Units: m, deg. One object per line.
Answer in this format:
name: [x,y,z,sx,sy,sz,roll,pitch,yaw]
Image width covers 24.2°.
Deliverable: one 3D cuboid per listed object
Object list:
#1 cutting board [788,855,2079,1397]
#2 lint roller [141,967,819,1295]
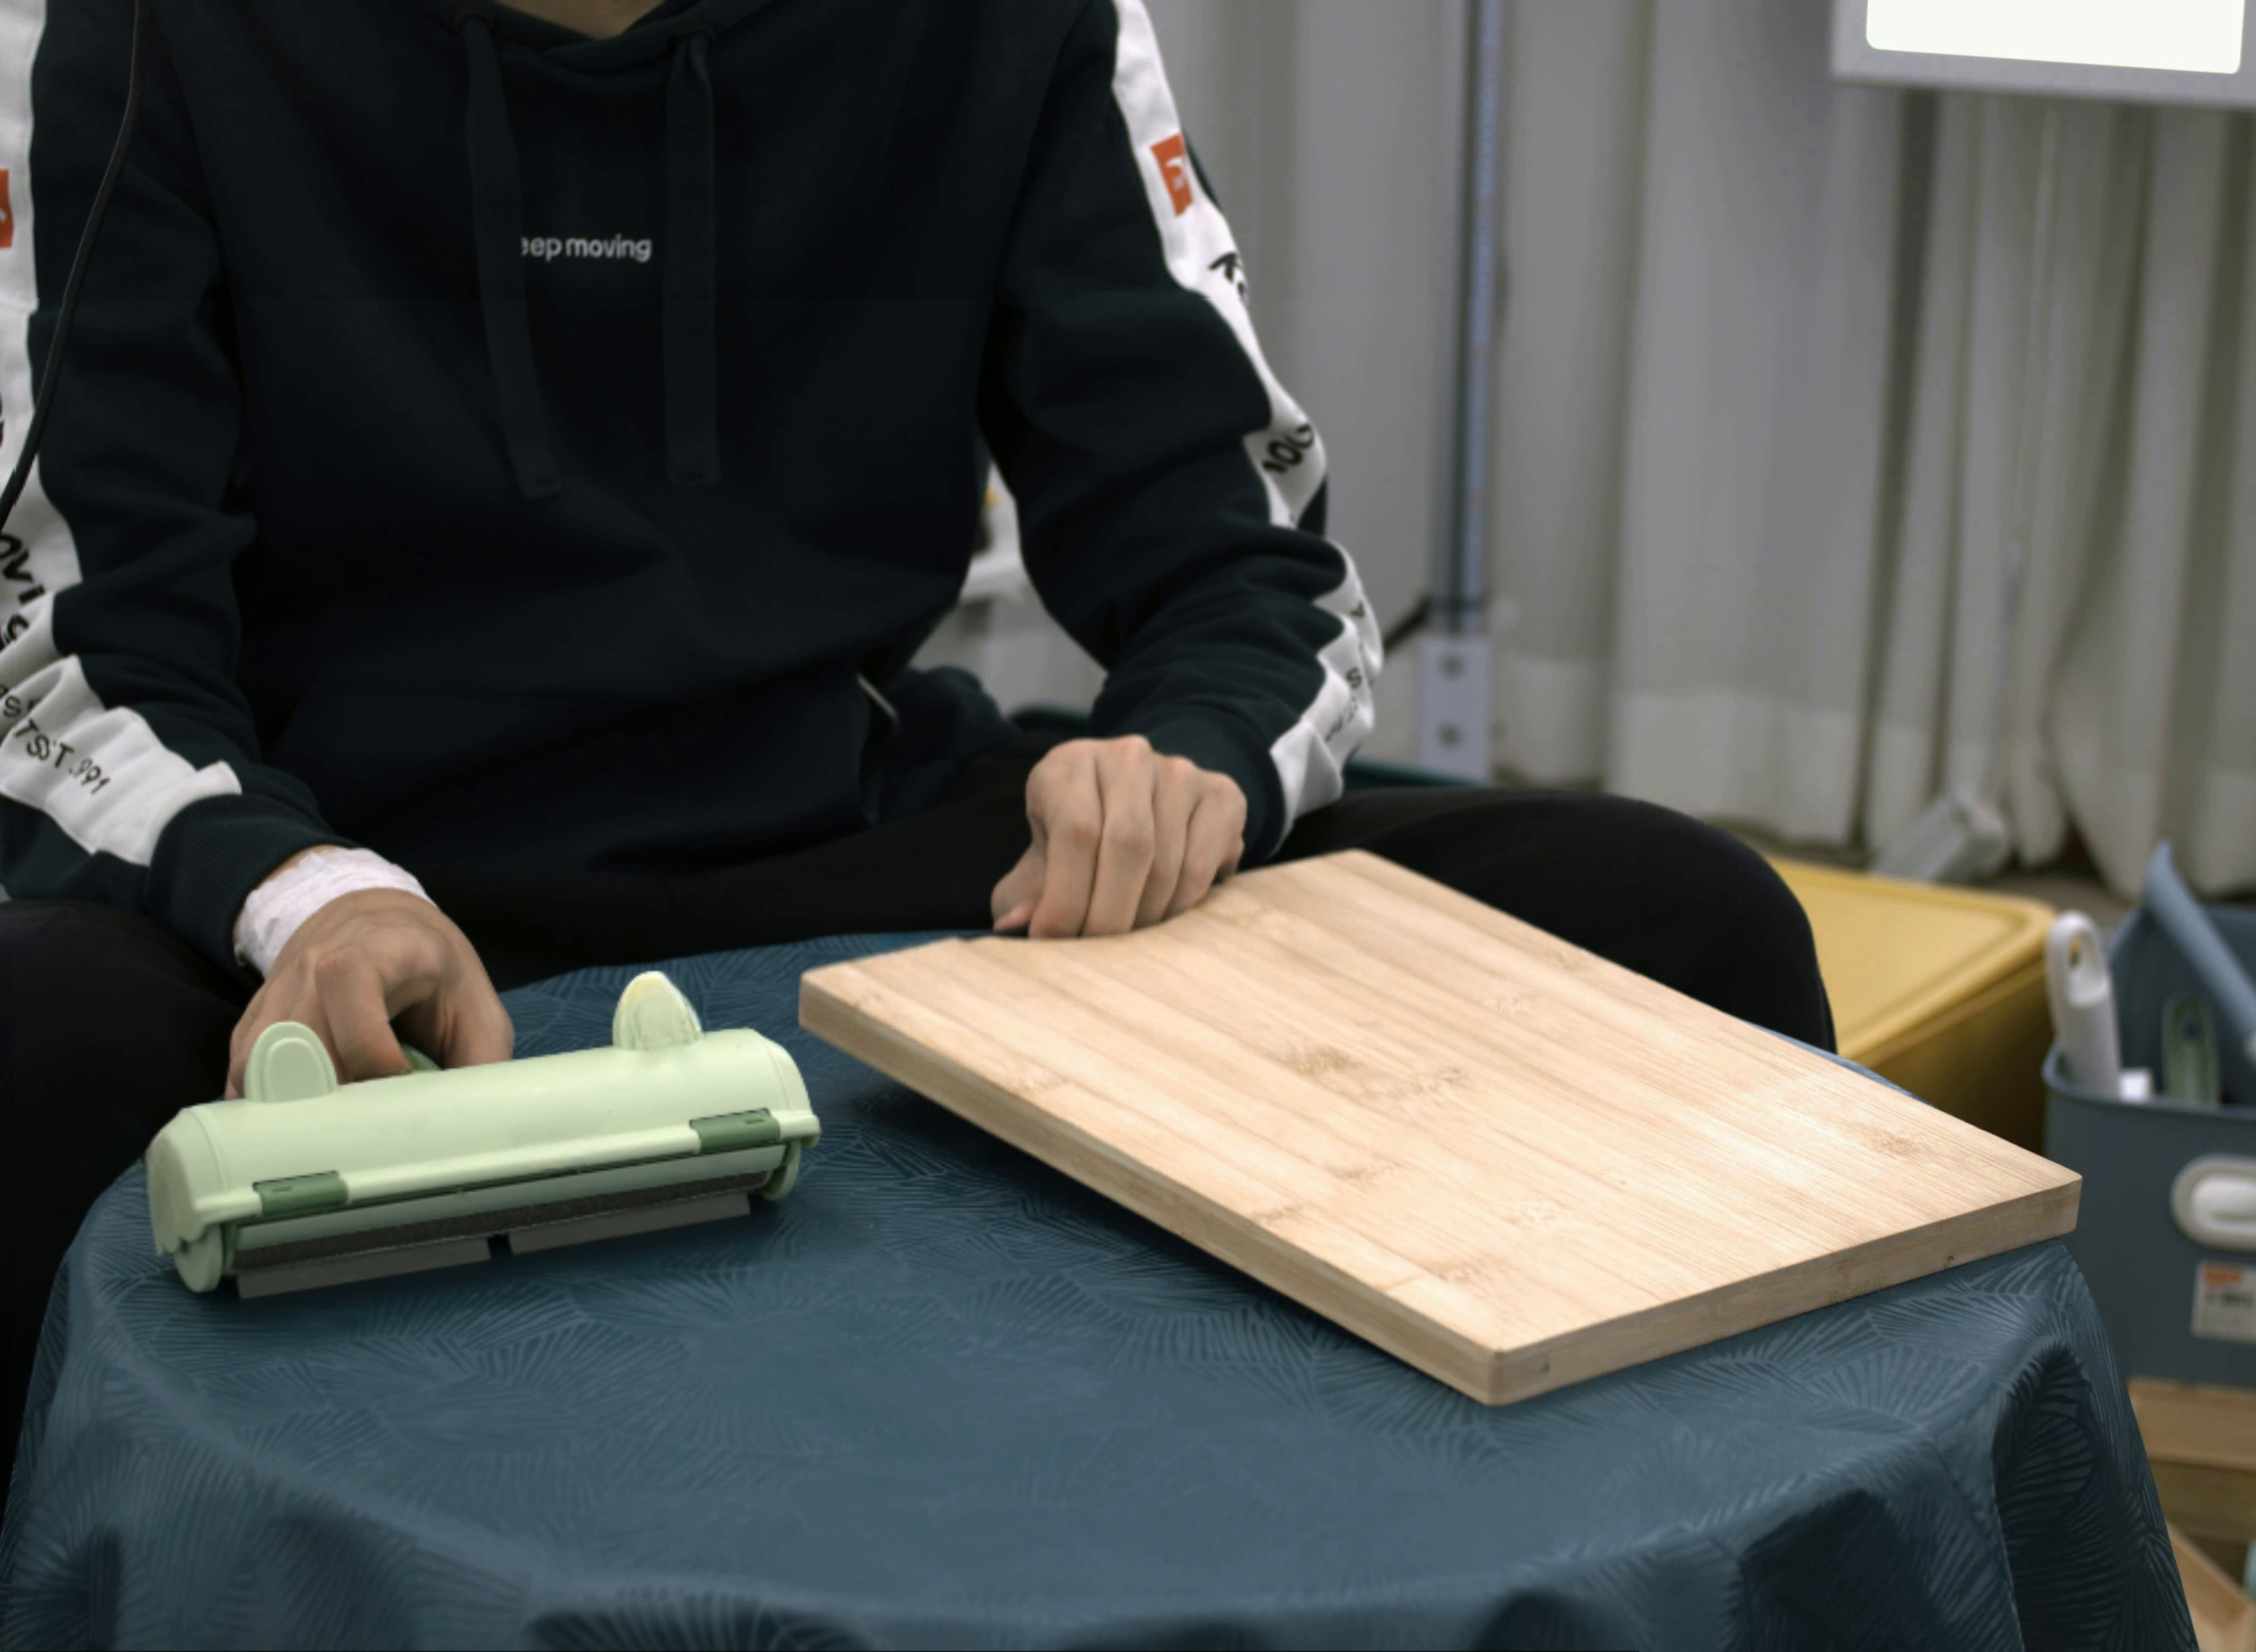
cutting board: [0.088,0.086,1.645,0.252,0.024,0.344,-12,24,-38]
lint roller: [-0.216,0.075,1.605,0.199,0.083,0.181,-8,22,-26]
